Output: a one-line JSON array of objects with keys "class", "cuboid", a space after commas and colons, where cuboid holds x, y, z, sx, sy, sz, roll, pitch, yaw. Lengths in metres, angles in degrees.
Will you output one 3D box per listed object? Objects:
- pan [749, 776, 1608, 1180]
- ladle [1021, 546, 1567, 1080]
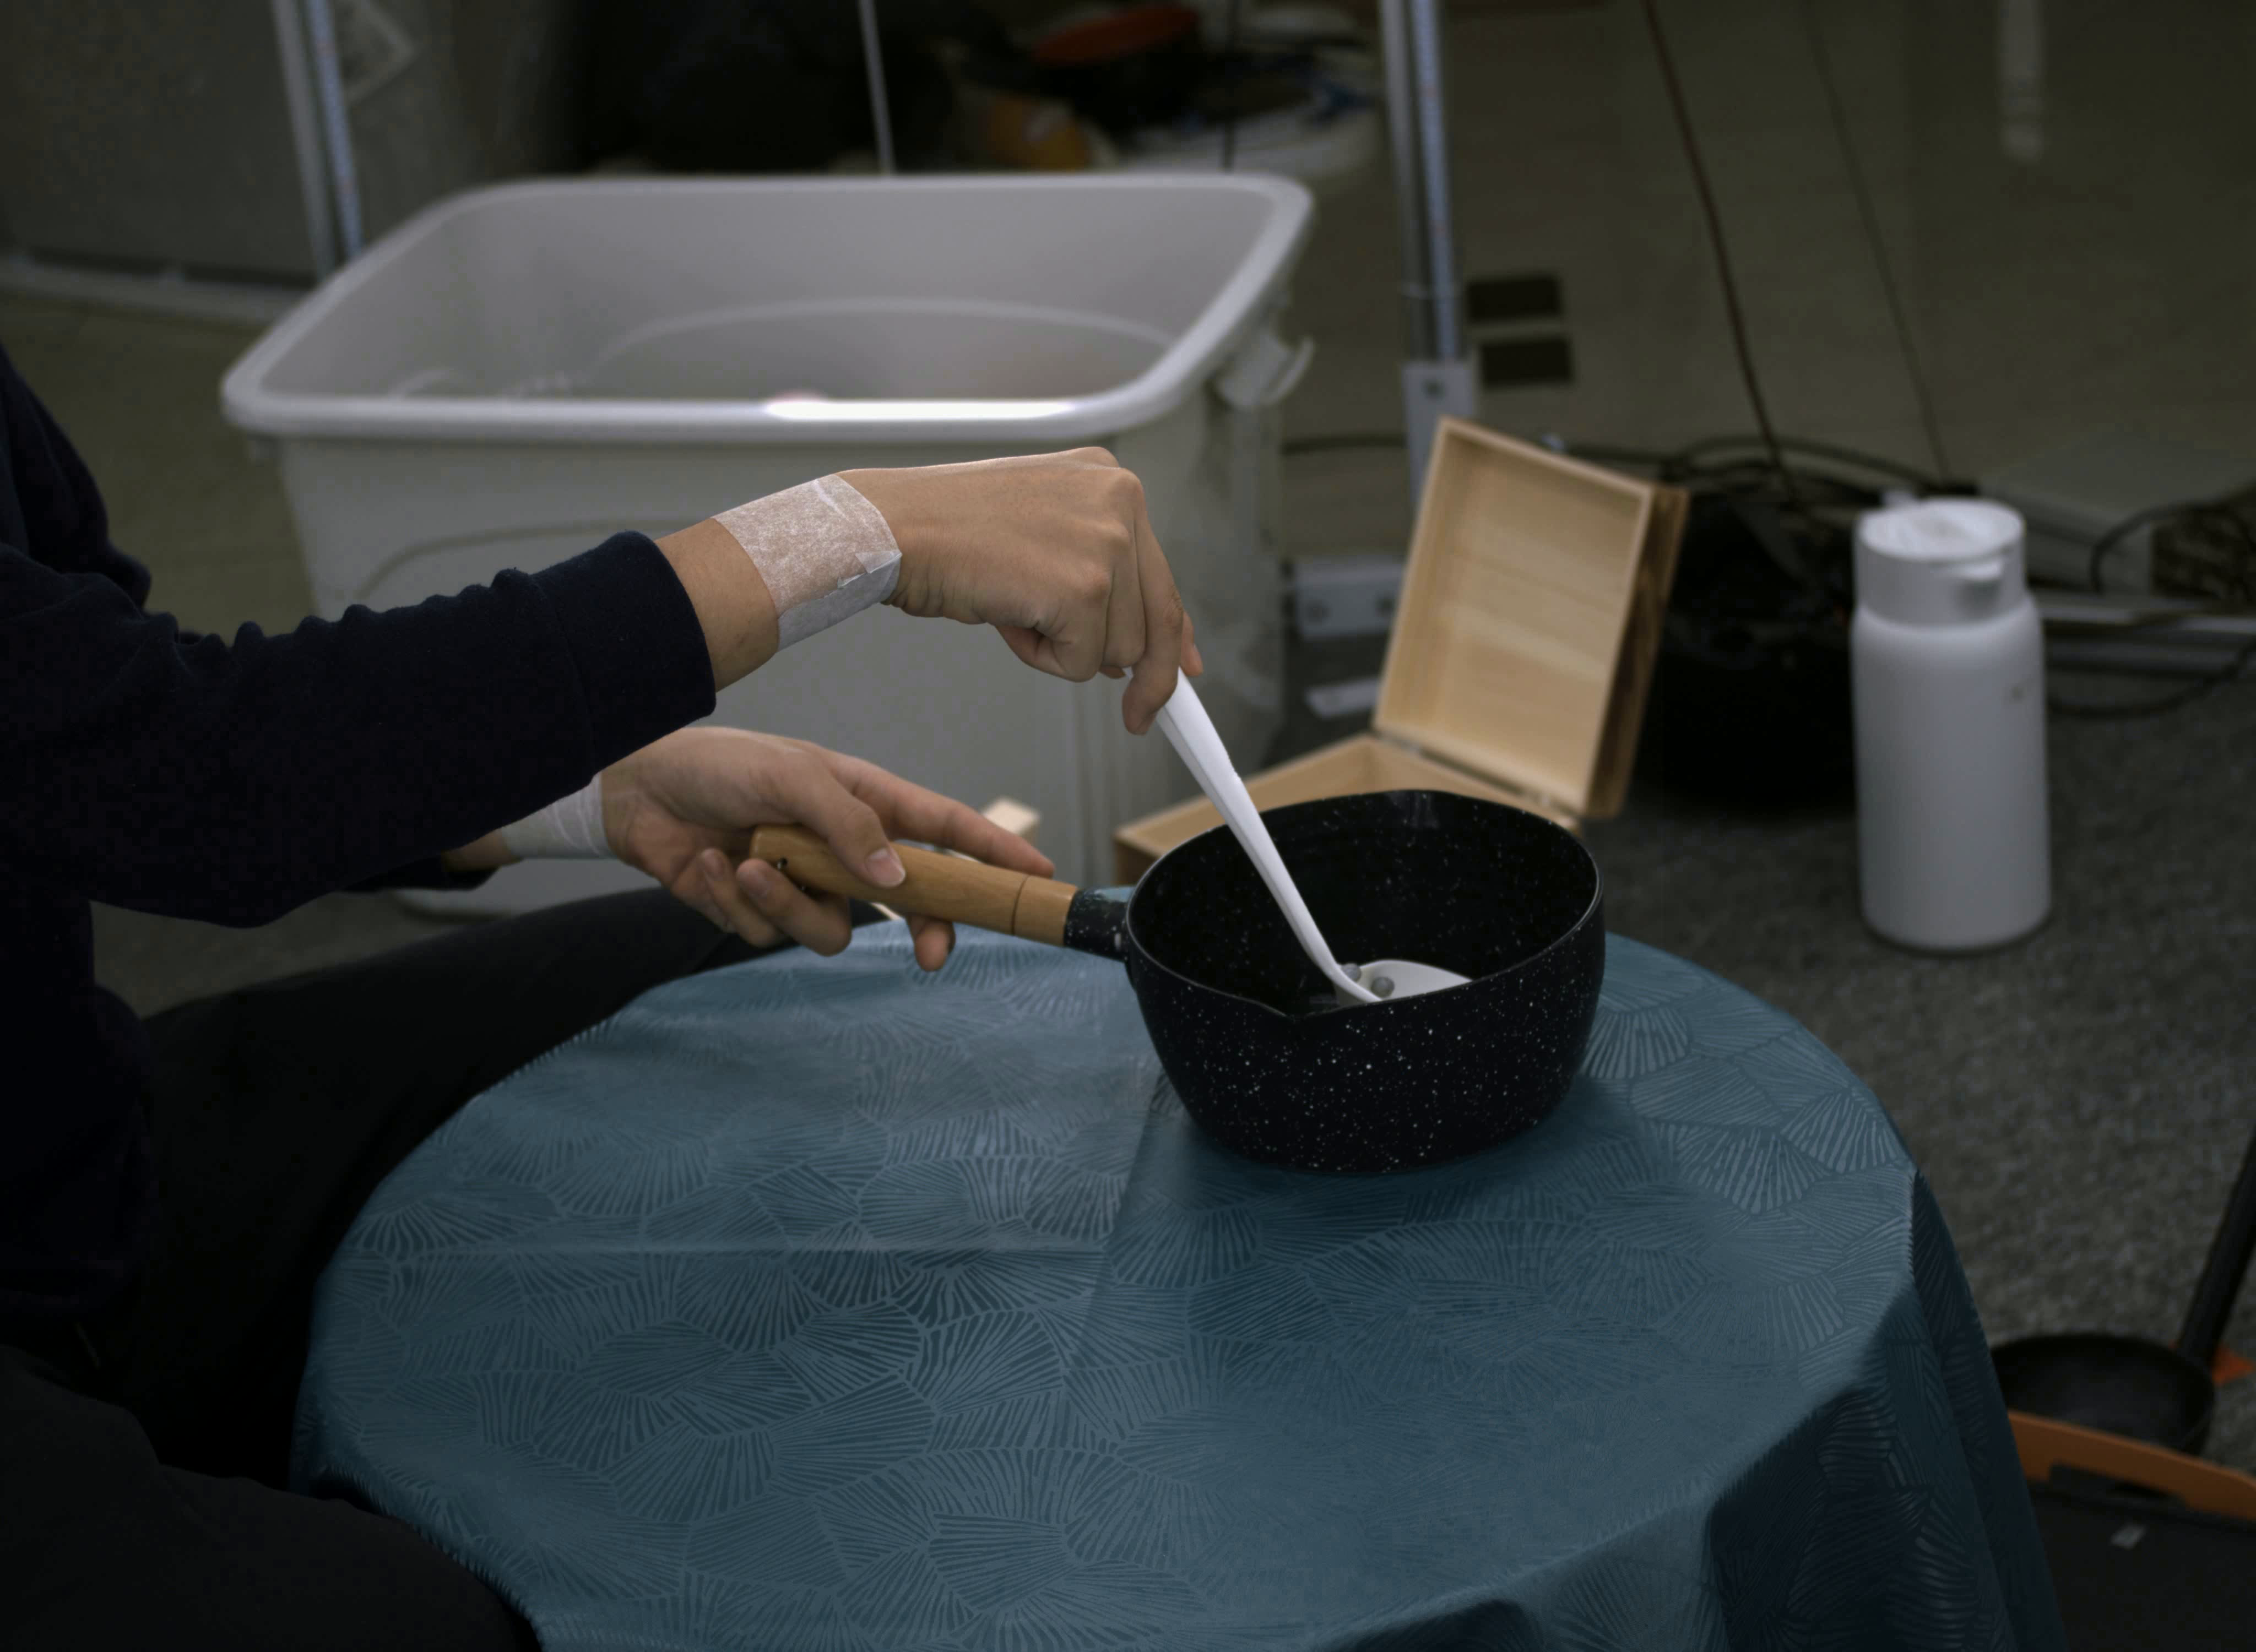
[{"class": "pan", "cuboid": [0.017, 0.051, 2.201, 0.342, 0.110, 0.204, 3, 28, 15]}, {"class": "ladle", "cuboid": [0.065, -0.001, 2.116, 0.070, 0.297, 0.089, -33, 31, 5]}]
